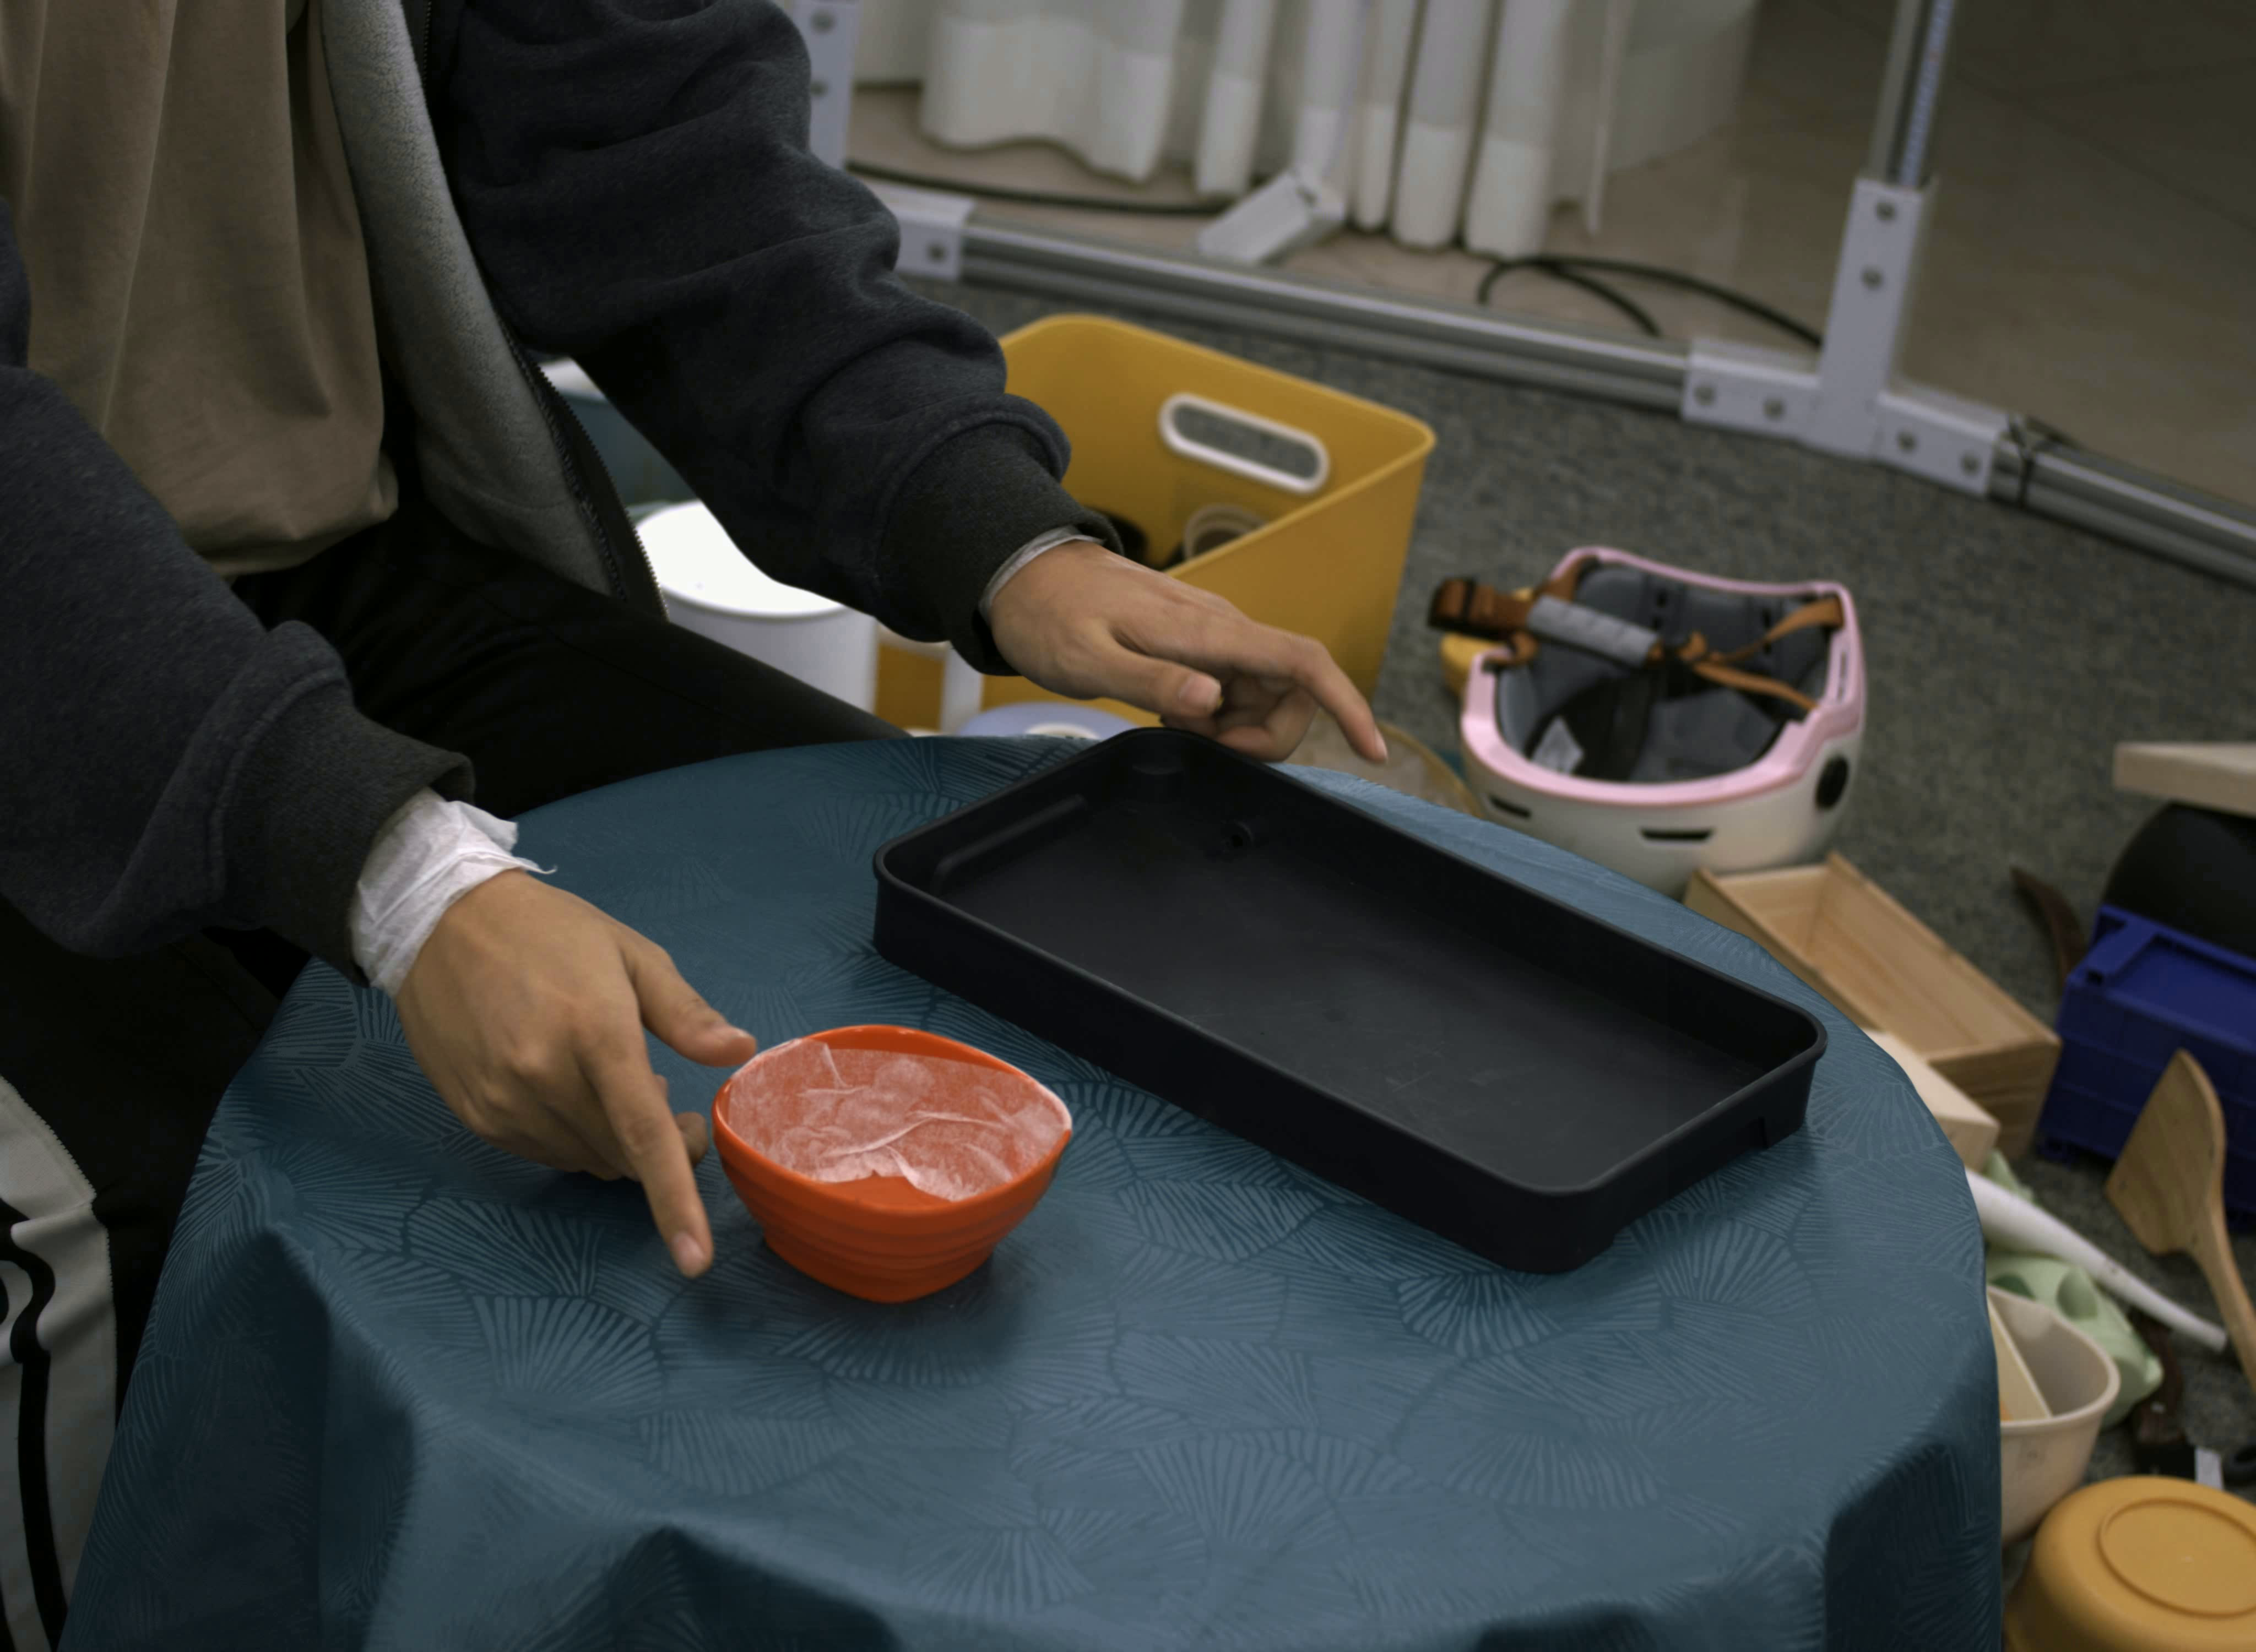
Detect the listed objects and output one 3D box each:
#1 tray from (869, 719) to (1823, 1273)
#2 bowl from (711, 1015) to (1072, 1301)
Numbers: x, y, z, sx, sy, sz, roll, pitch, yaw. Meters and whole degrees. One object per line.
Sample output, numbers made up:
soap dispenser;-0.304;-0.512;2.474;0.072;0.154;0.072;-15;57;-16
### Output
tray;0.074;0.055;1.910;0.320;0.037;0.183;25;32;32
bowl;-0.080;0.113;1.743;0.118;0.051;0.119;6;29;-4
